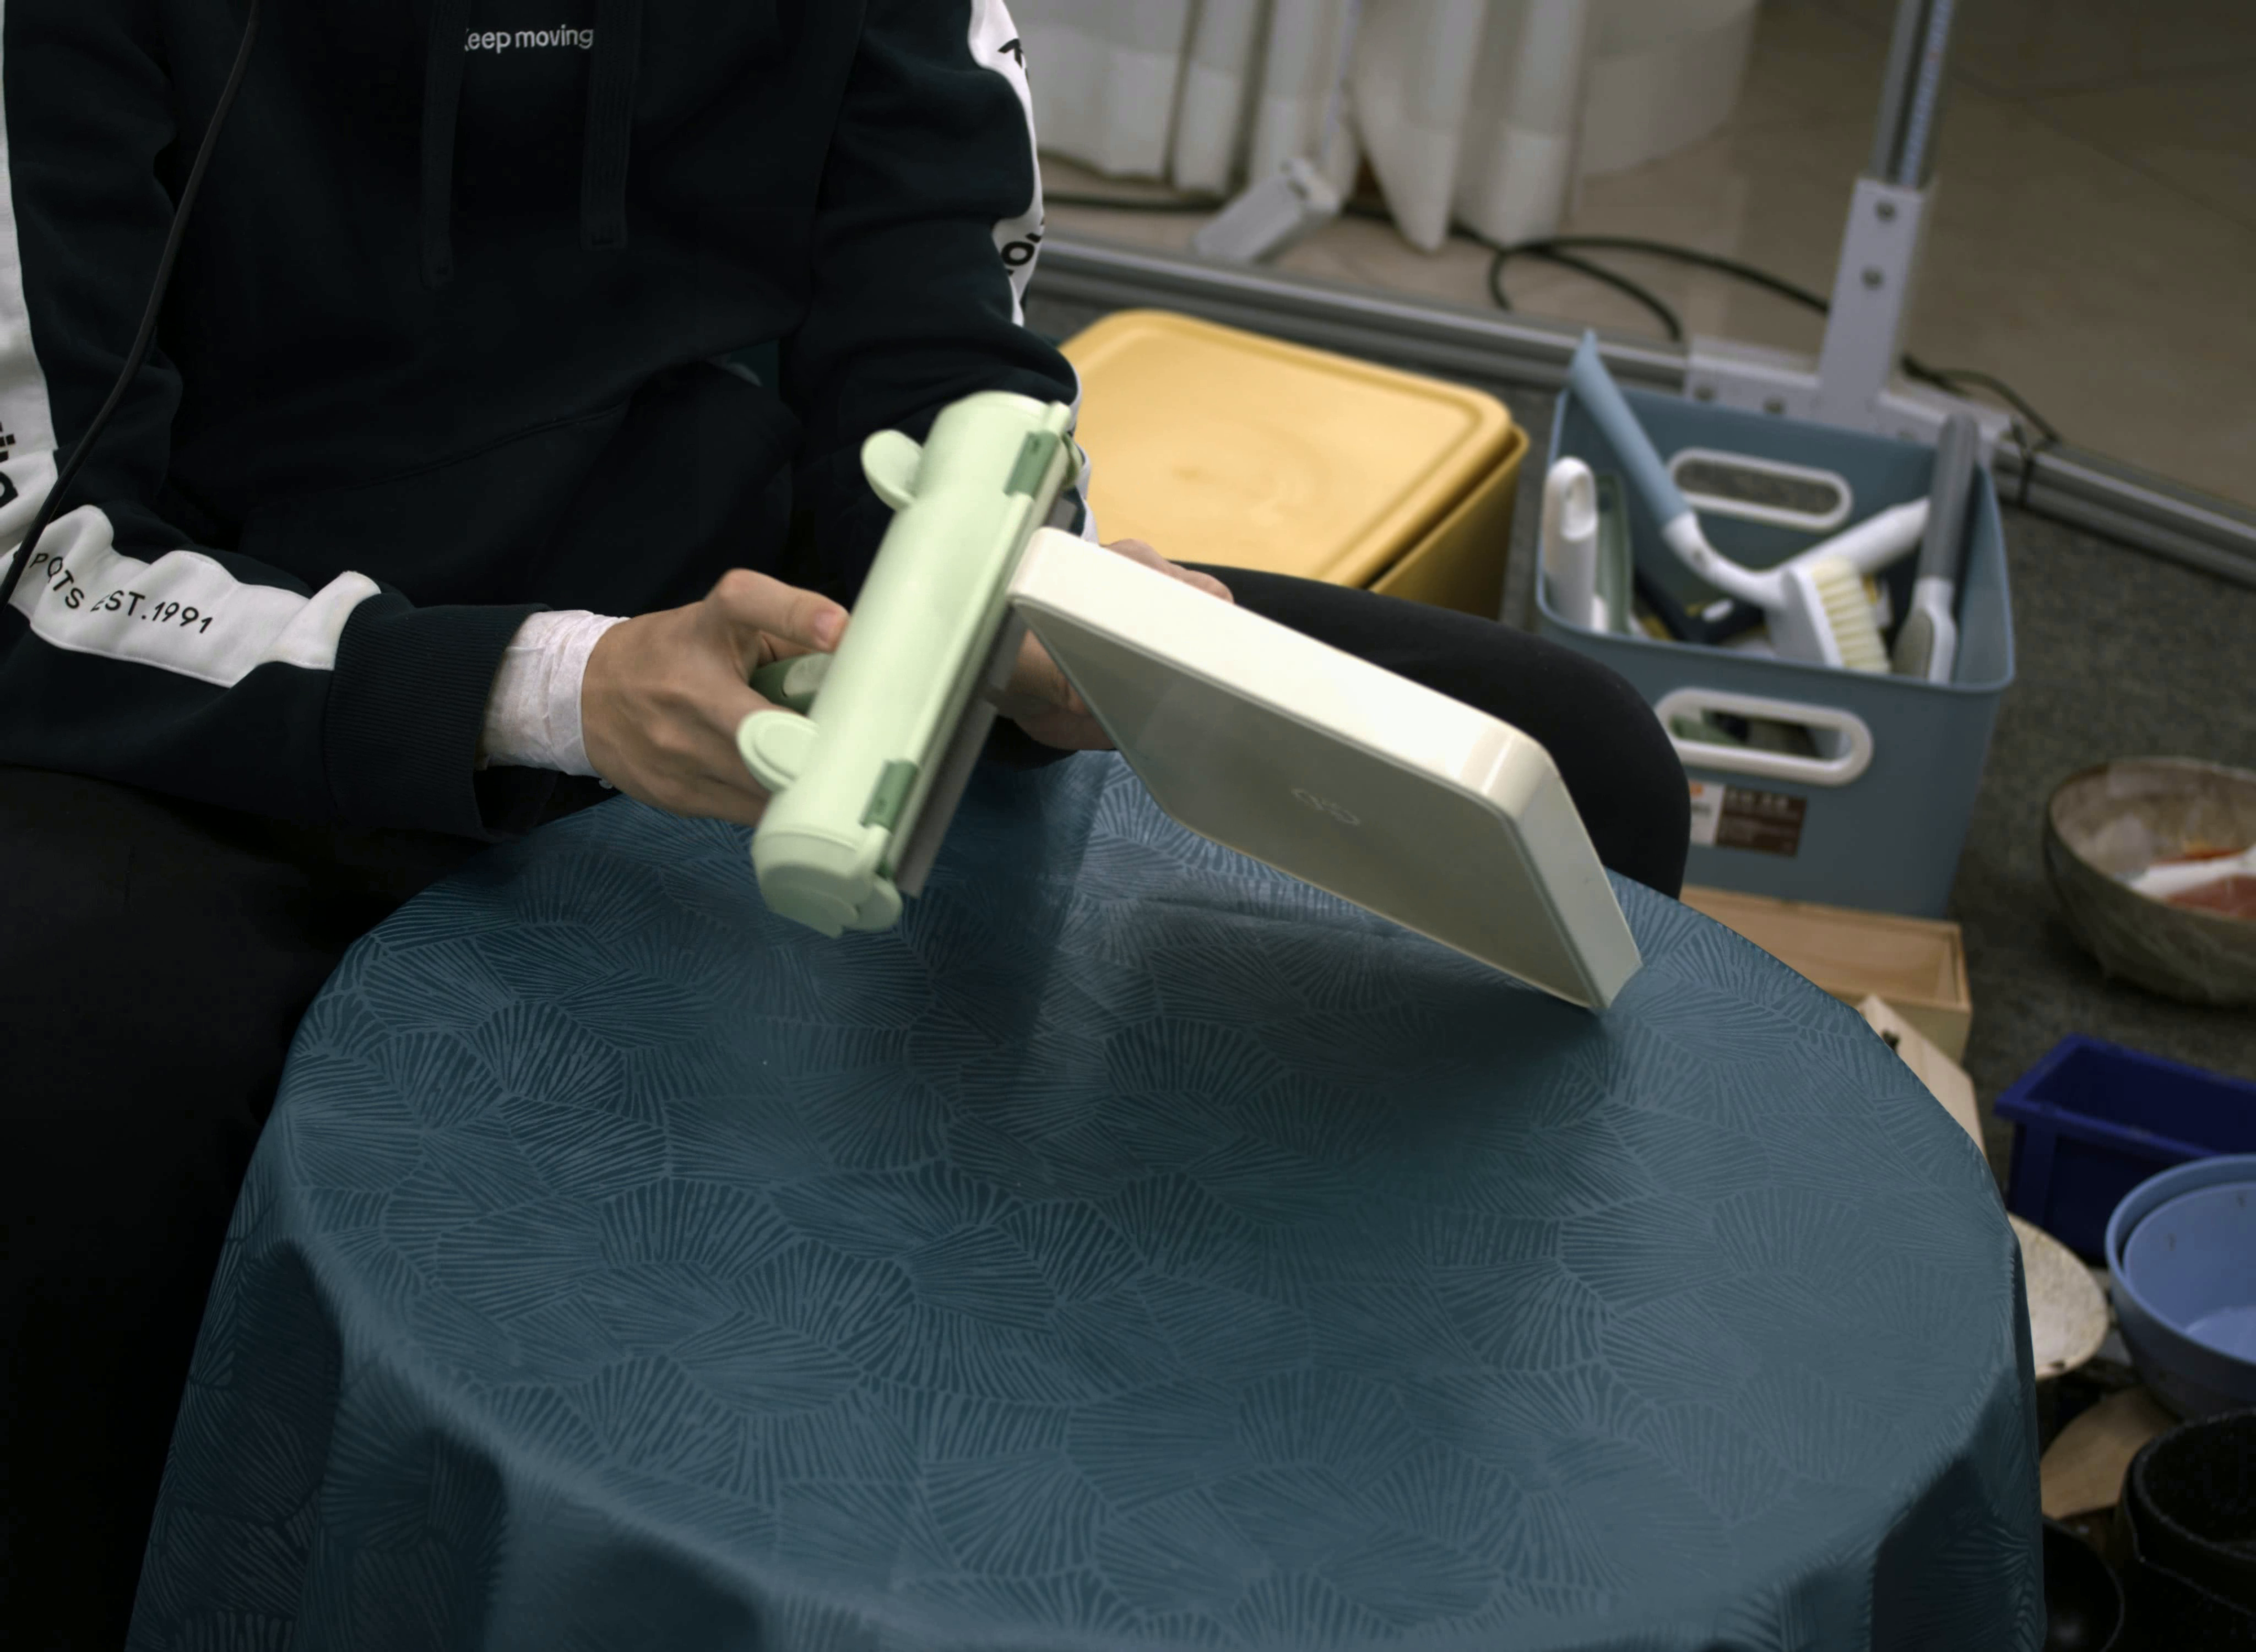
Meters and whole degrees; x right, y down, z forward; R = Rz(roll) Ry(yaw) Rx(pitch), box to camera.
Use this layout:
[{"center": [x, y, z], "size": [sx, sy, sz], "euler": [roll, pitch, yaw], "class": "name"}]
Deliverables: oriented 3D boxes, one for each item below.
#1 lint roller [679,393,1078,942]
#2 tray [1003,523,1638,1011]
[{"center": [-0.112, -0.053, 1.831], "size": [0.184, 0.081, 0.199], "euler": [-8, 51, 45], "class": "lint roller"}, {"center": [0.072, -0.014, 1.837], "size": [0.192, 0.027, 0.298], "euler": [24, -10, 17], "class": "tray"}]
